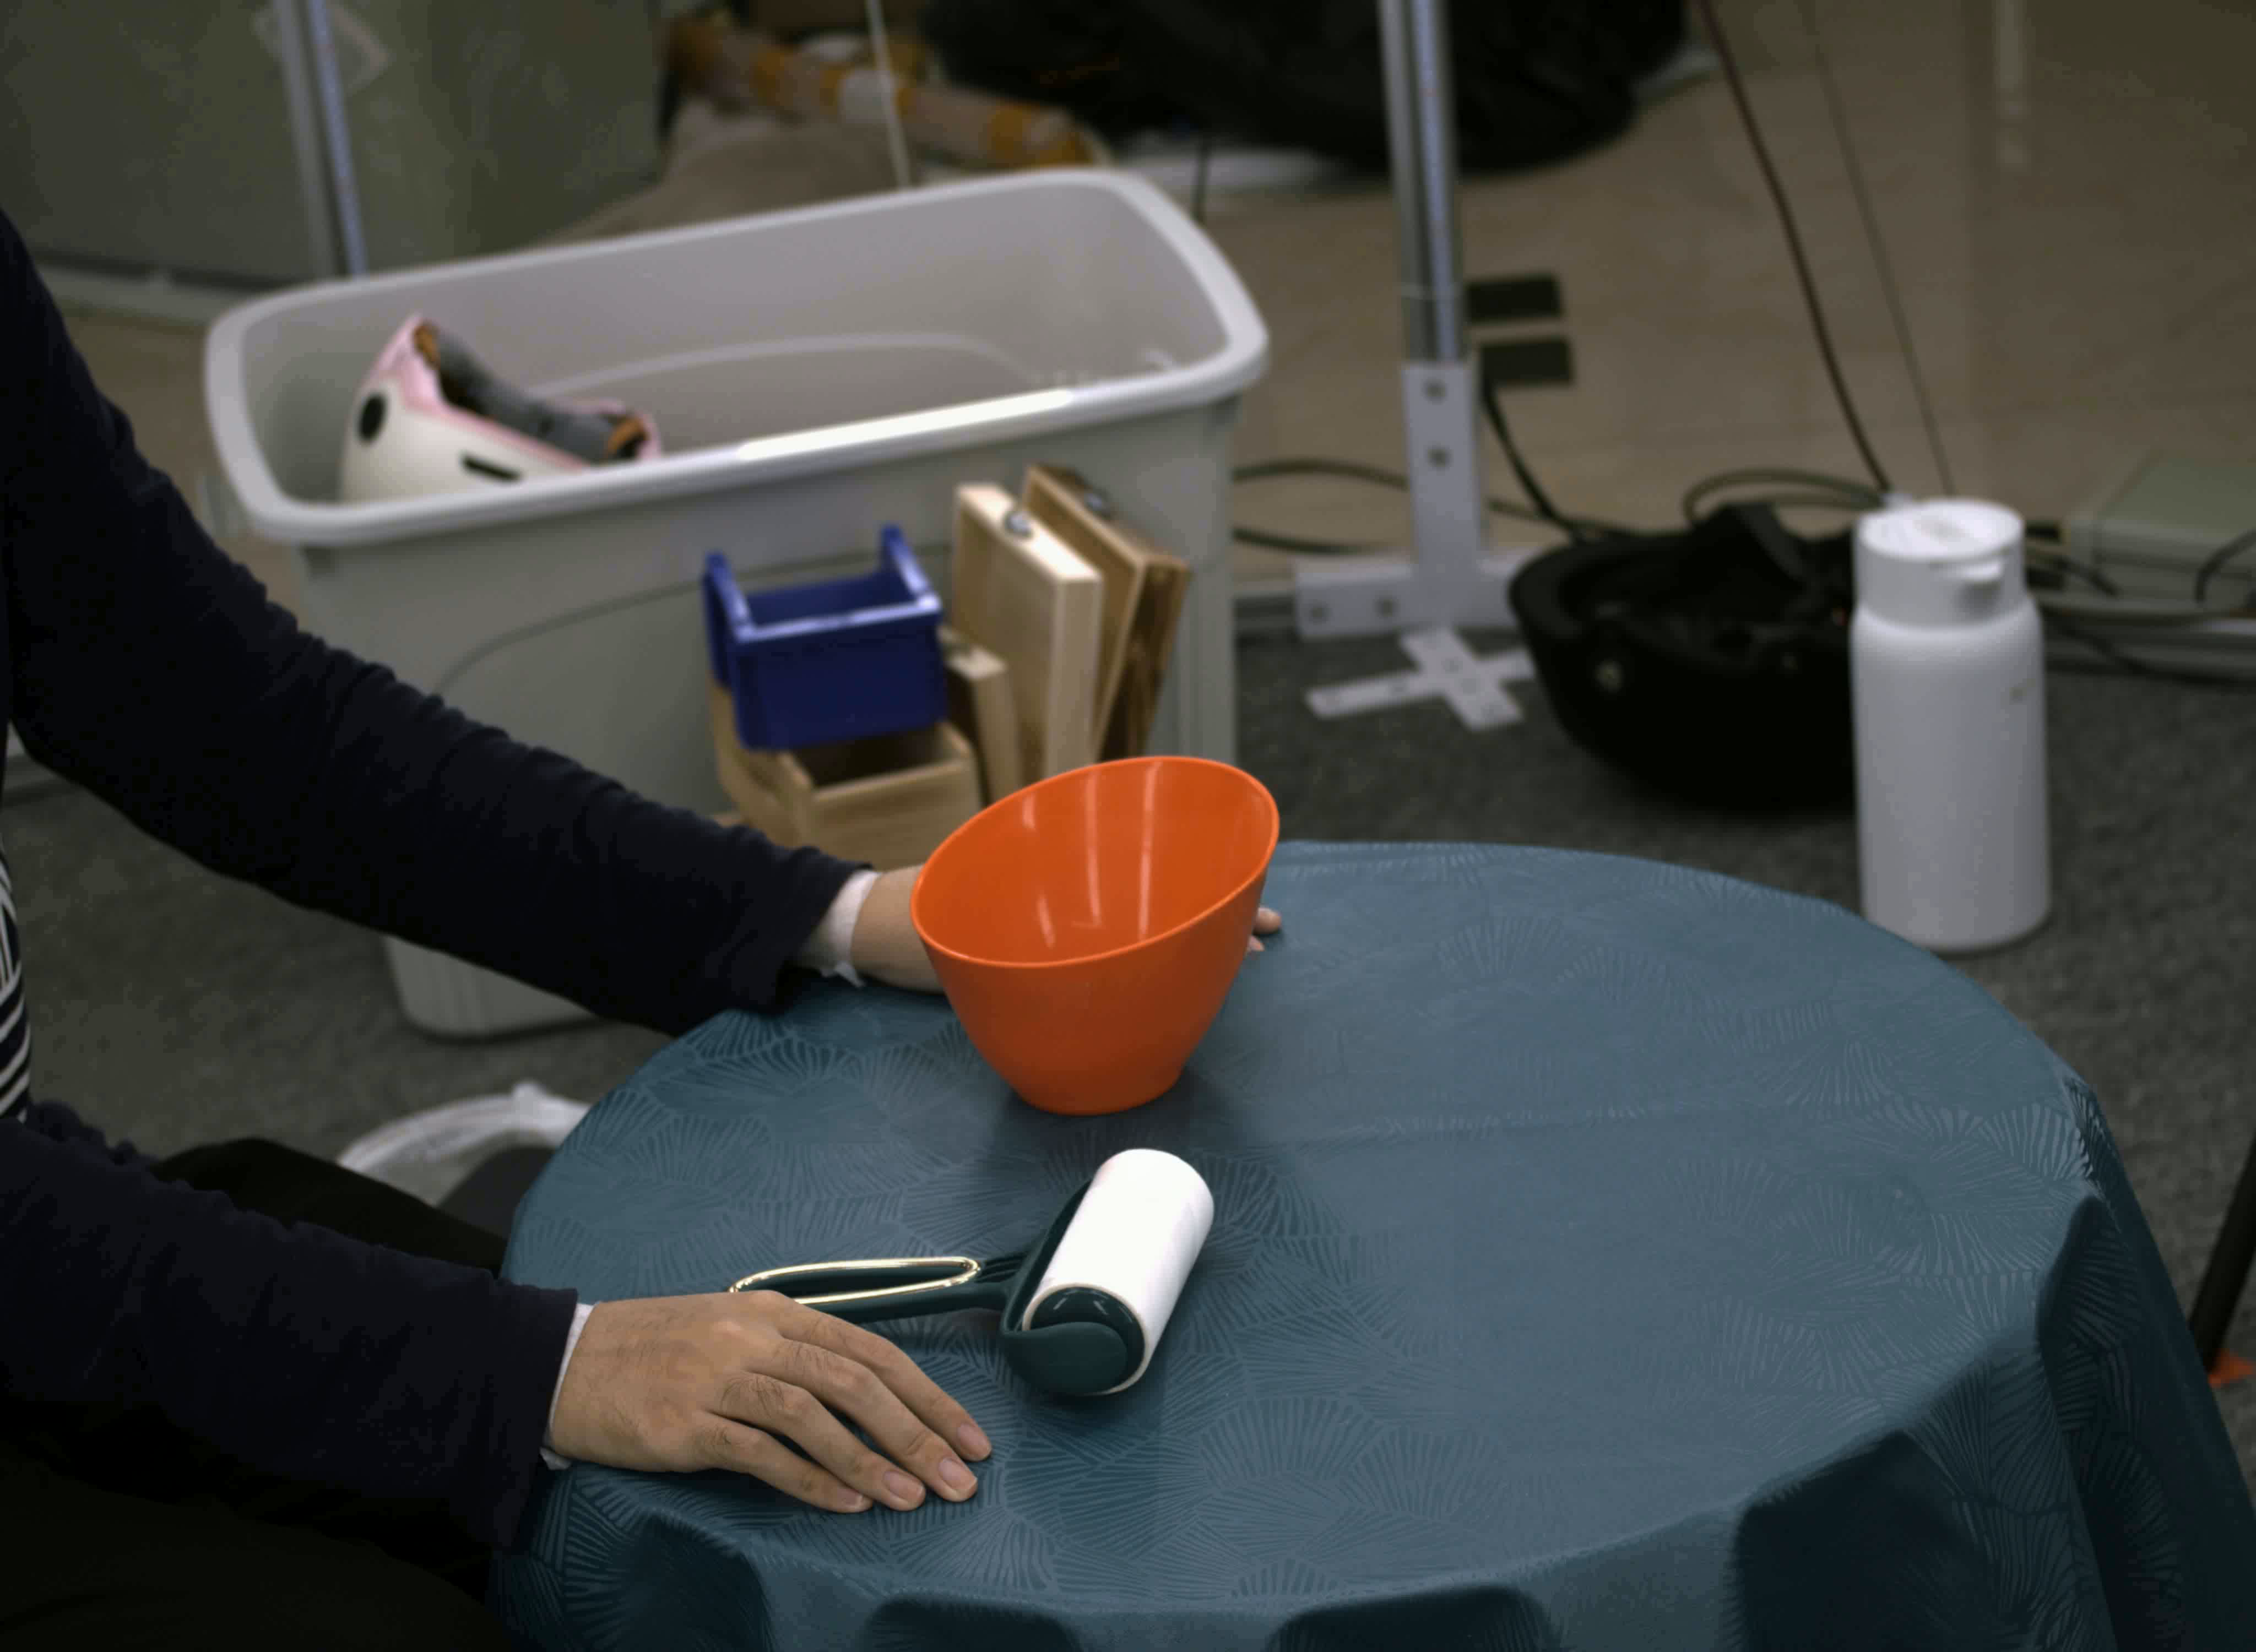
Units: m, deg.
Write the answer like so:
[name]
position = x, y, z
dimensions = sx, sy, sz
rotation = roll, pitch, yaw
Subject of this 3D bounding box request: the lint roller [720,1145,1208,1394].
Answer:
[lint roller]
position = -0.067, 0.164, 2.068
dimensions = 0.180, 0.049, 0.132
rotation = -3, 25, 16

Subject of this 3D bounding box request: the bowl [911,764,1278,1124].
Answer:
[bowl]
position = -0.007, 0.052, 2.223
dimensions = 0.148, 0.106, 0.146
rotation = -8, 25, 4
